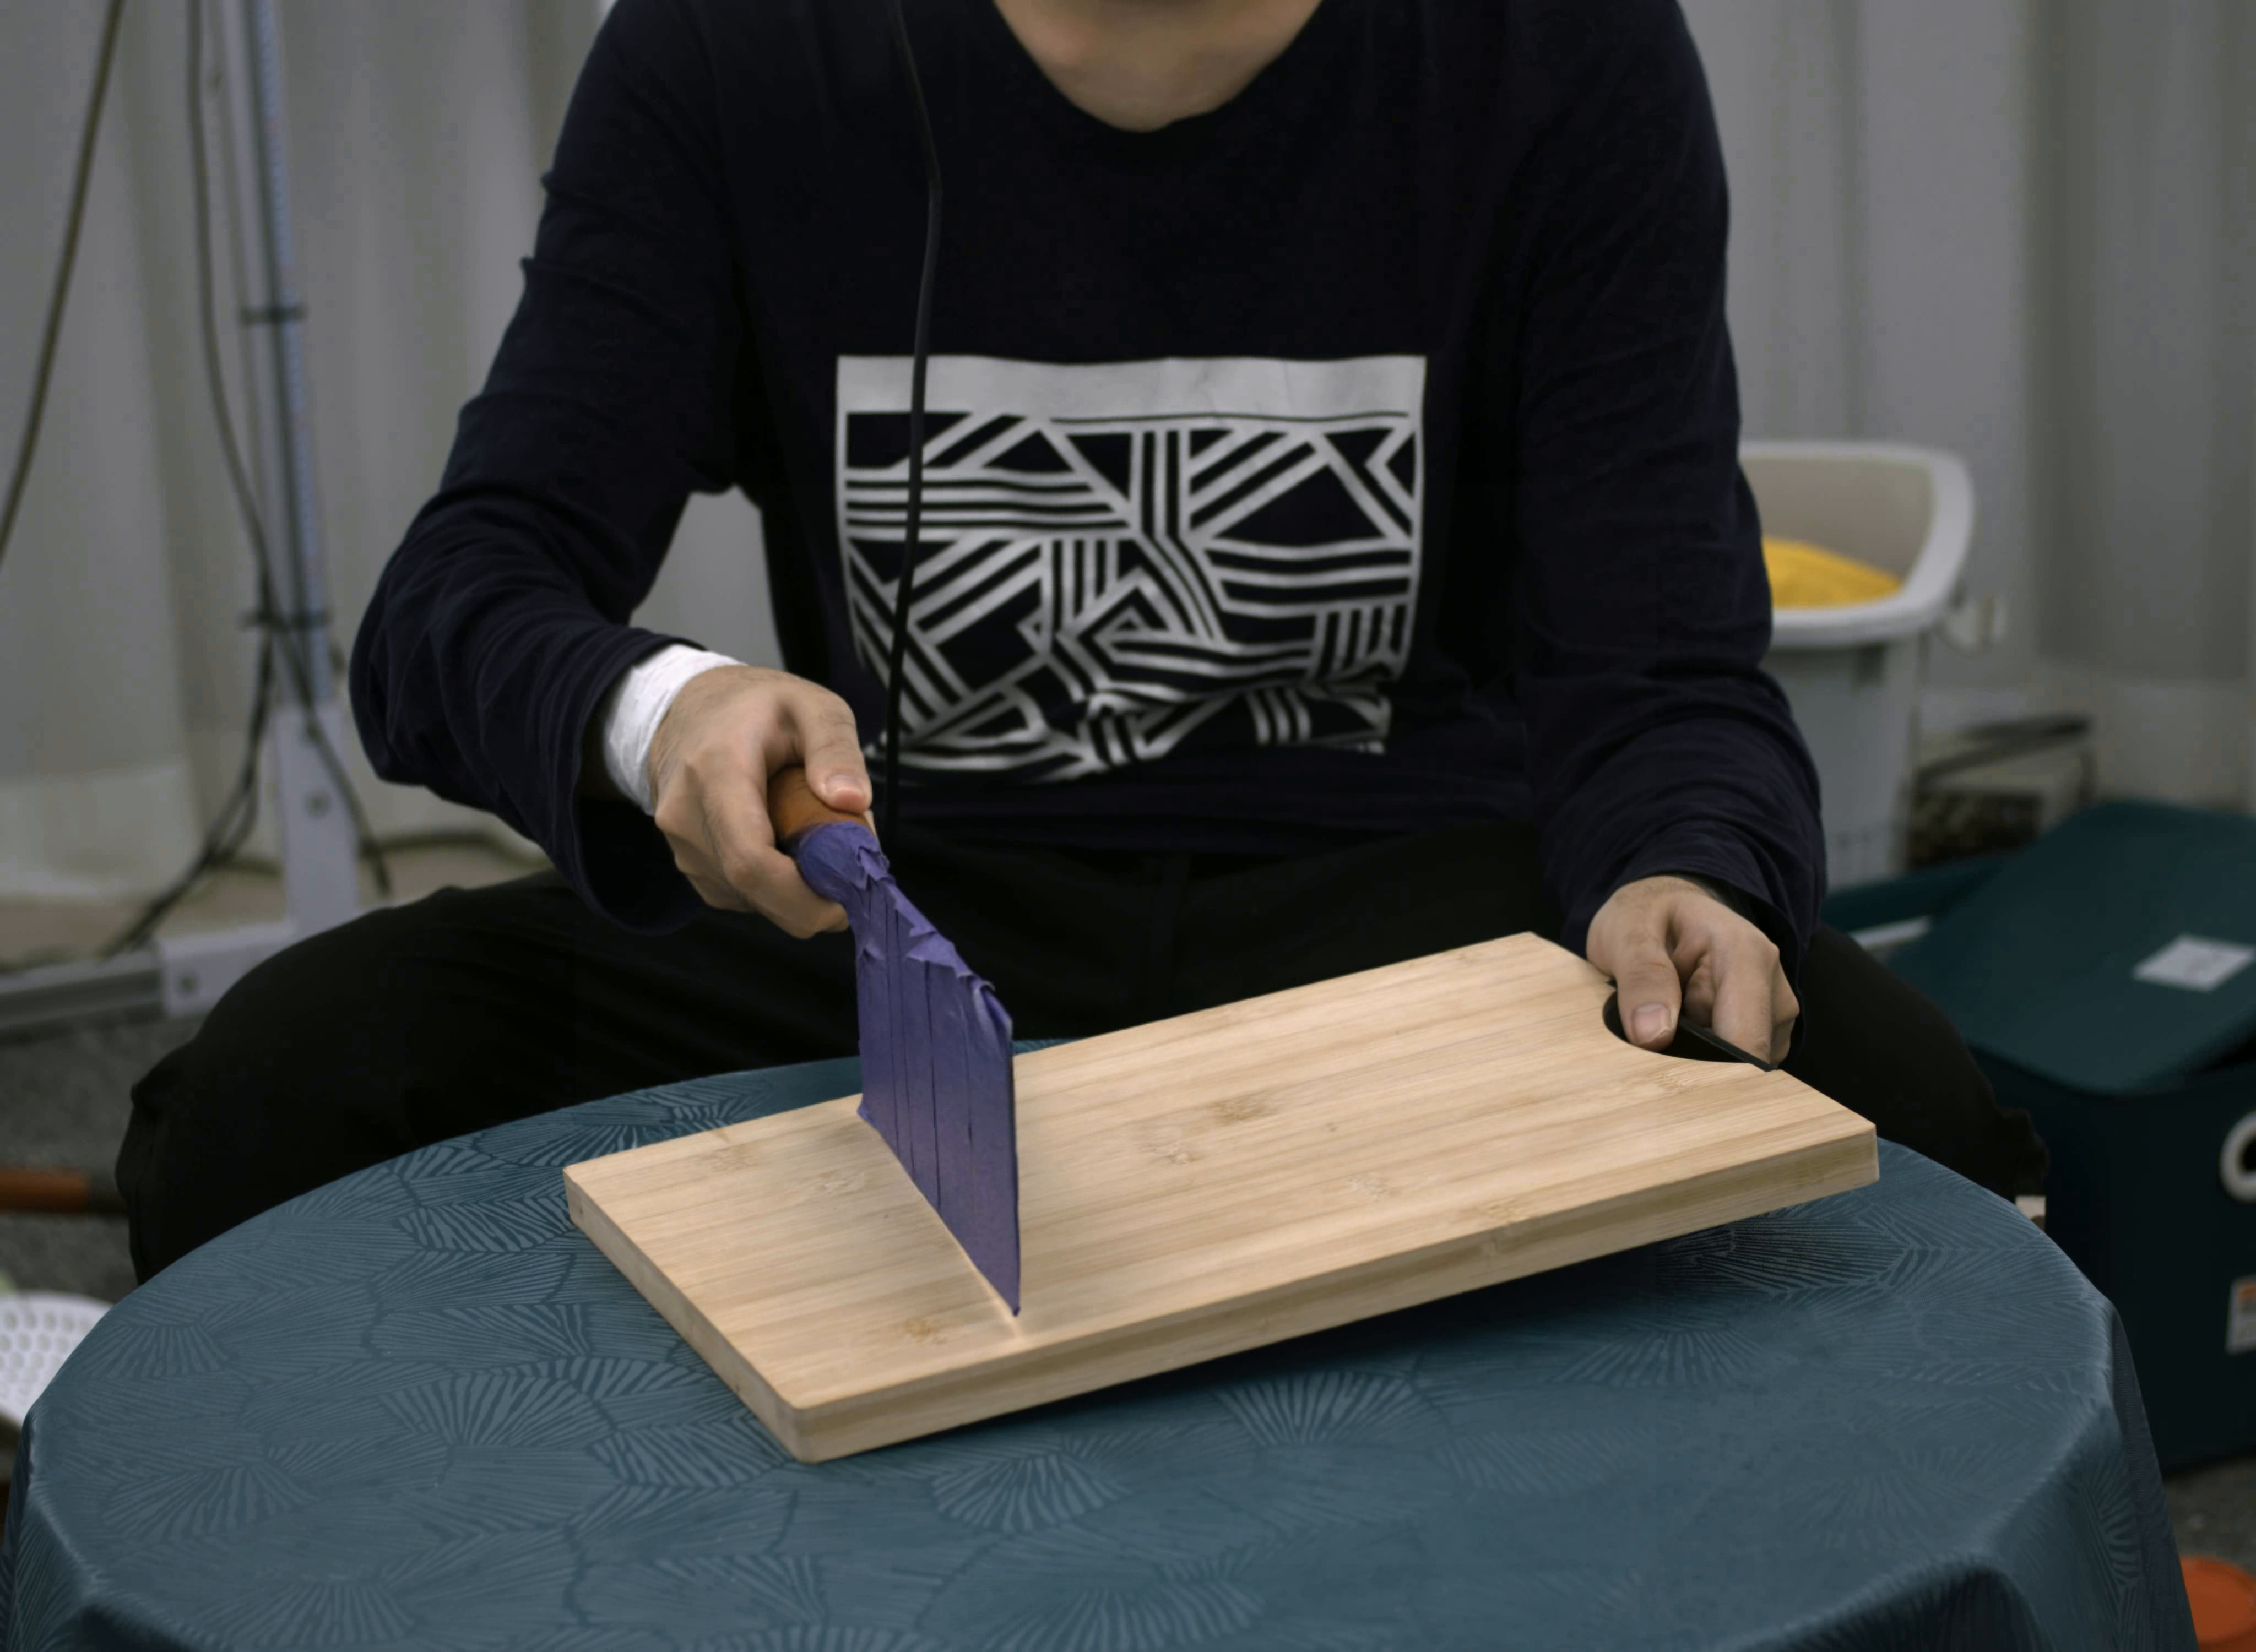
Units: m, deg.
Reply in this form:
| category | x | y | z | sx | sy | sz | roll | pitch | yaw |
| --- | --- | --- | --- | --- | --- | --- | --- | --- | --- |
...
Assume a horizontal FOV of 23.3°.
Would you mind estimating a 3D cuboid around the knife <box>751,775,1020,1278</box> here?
| category | x | y | z | sx | sy | sz | roll | pitch | yaw |
| --- | --- | --- | --- | --- | --- | --- | --- | --- | --- |
| knife | -0.075 | 0.058 | 1.661 | 0.032 | 0.103 | 0.317 | -3 | 13 | -12 |

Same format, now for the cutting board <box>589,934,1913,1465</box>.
| category | x | y | z | sx | sy | sz | roll | pitch | yaw |
| --- | --- | --- | --- | --- | --- | --- | --- | --- | --- |
| cutting board | 0.028 | 0.105 | 1.662 | 0.347 | 0.023 | 0.252 | -13 | 17 | -19 |
